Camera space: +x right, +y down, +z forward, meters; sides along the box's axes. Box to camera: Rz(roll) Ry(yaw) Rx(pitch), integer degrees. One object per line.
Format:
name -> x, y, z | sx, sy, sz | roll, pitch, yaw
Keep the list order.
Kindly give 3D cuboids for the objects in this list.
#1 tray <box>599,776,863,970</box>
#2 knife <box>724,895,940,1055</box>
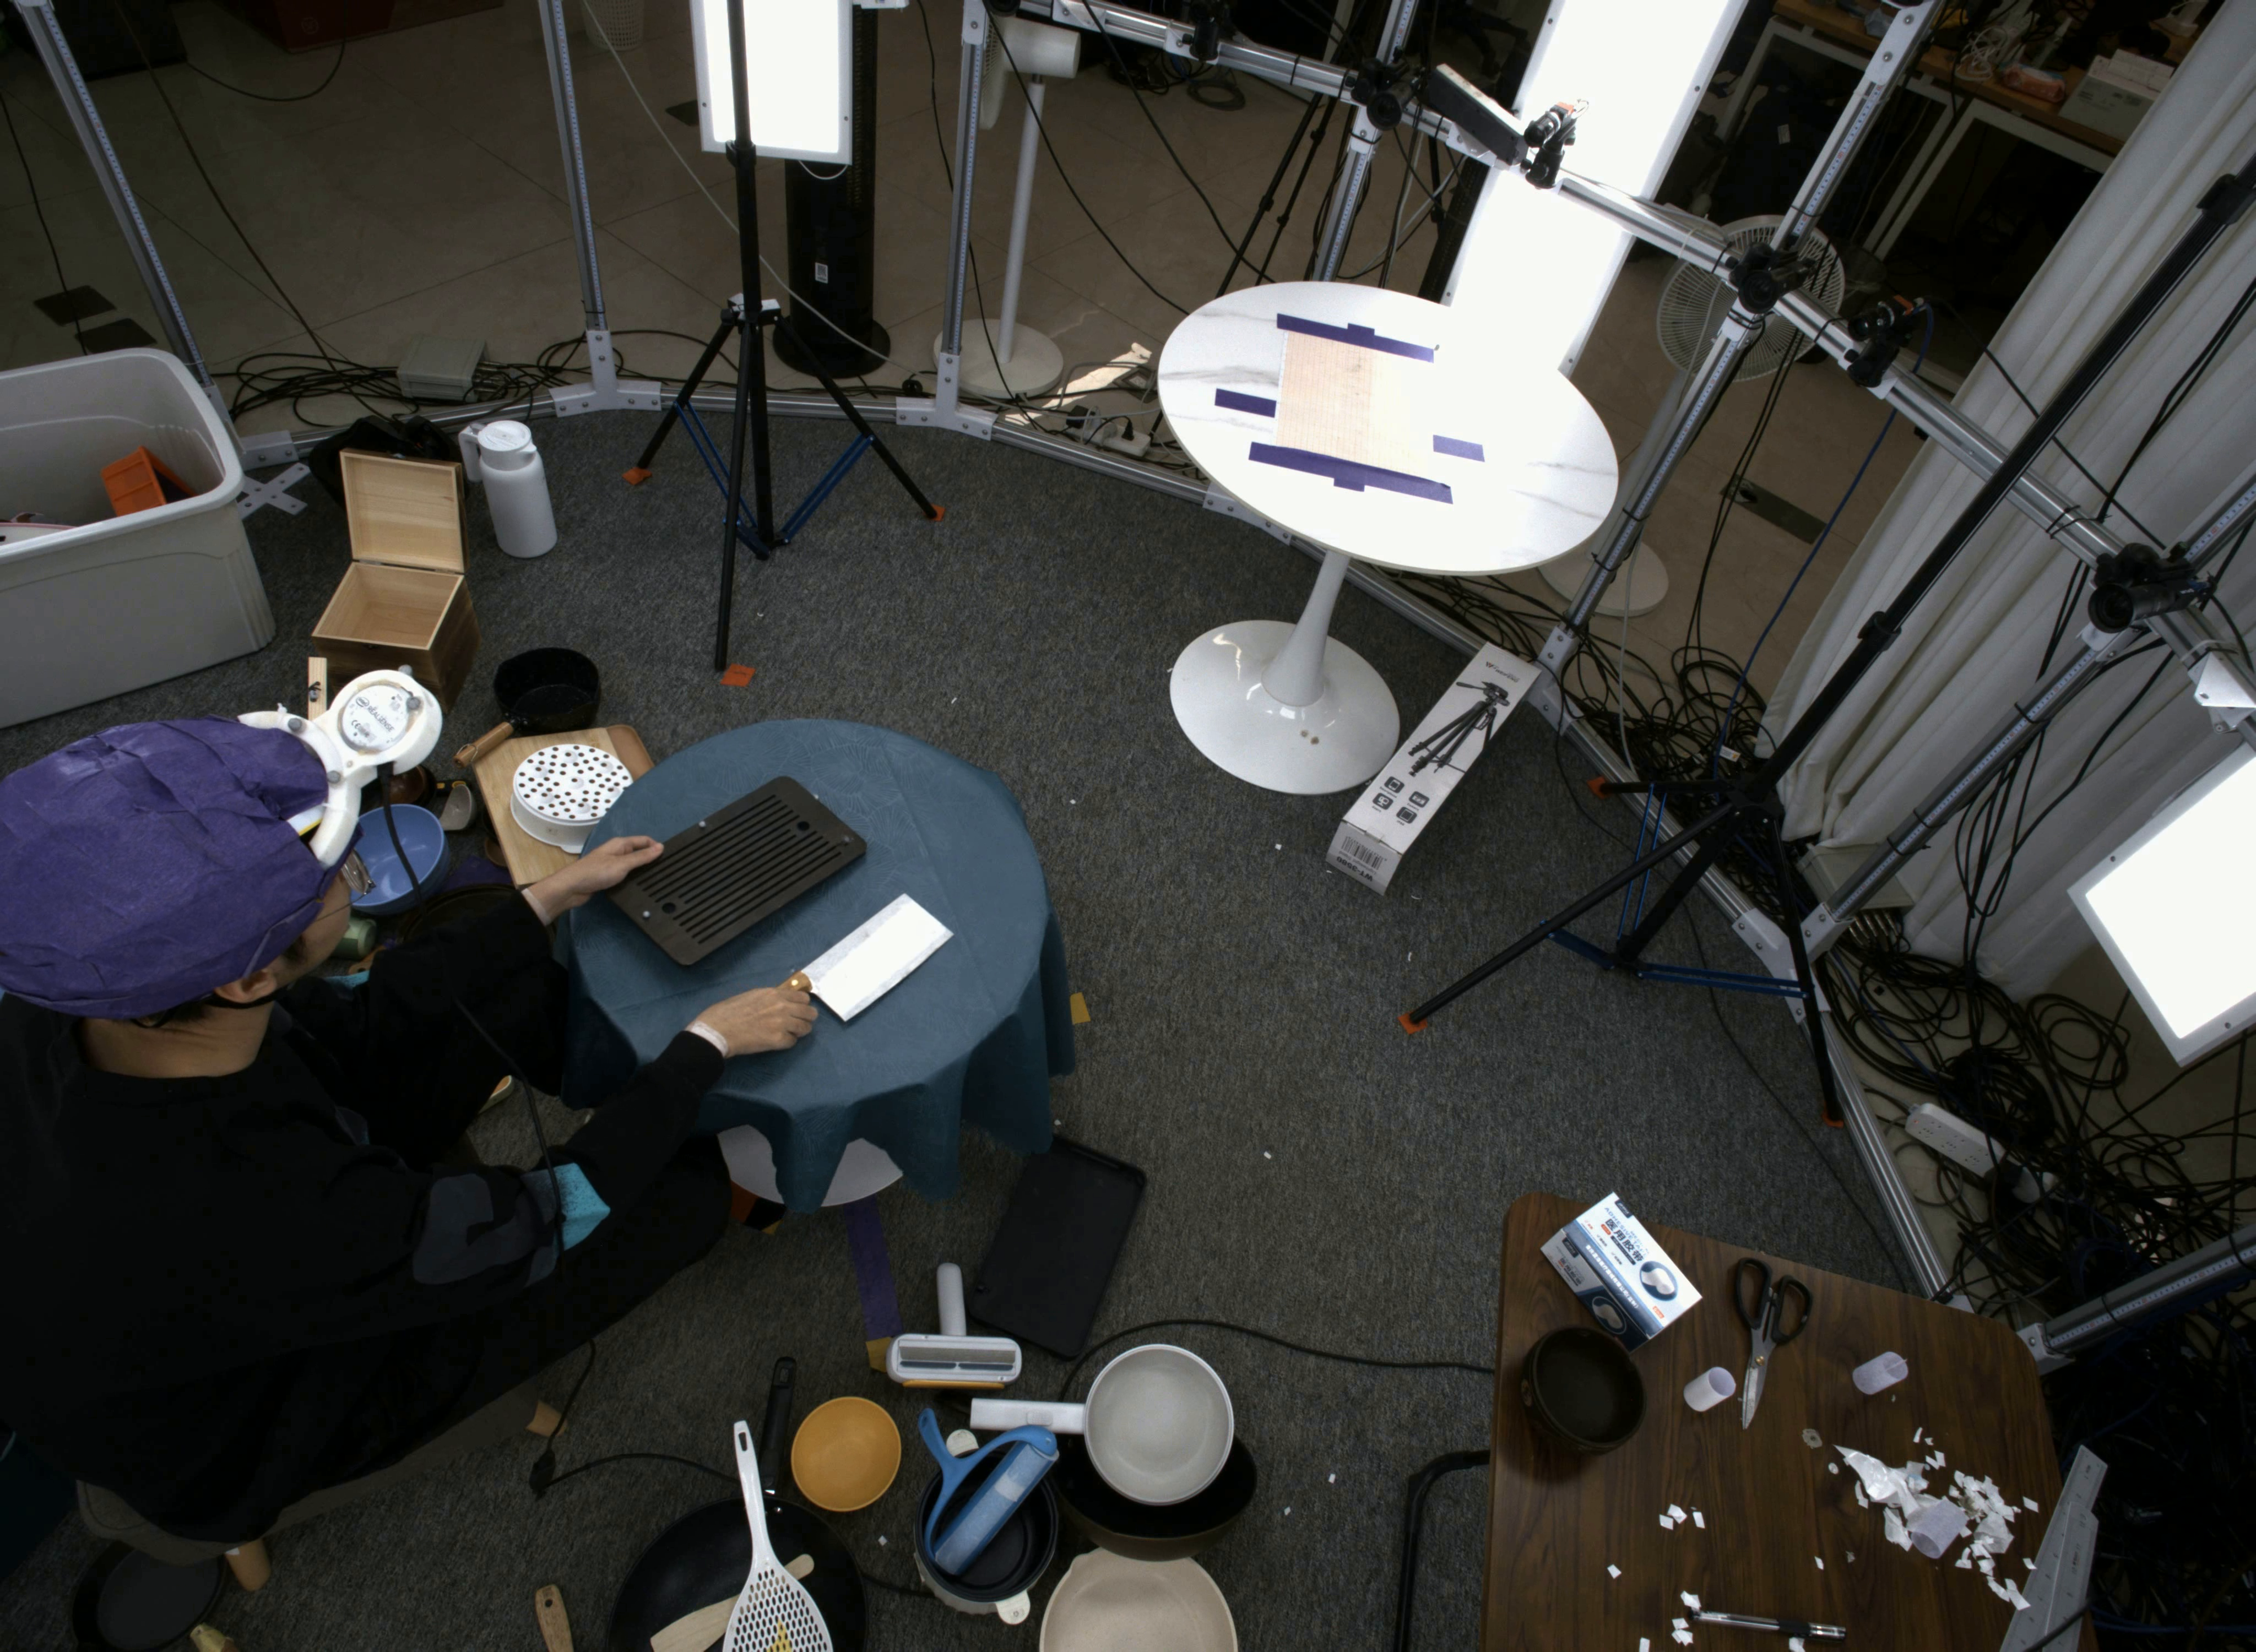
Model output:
tray -> -0.496, 0.052, 1.623 | 0.167, 0.019, 0.306 | 39, 47, 15
knife -> -0.349, 0.188, 1.581 | 0.091, 0.021, 0.306 | 39, 51, 14
